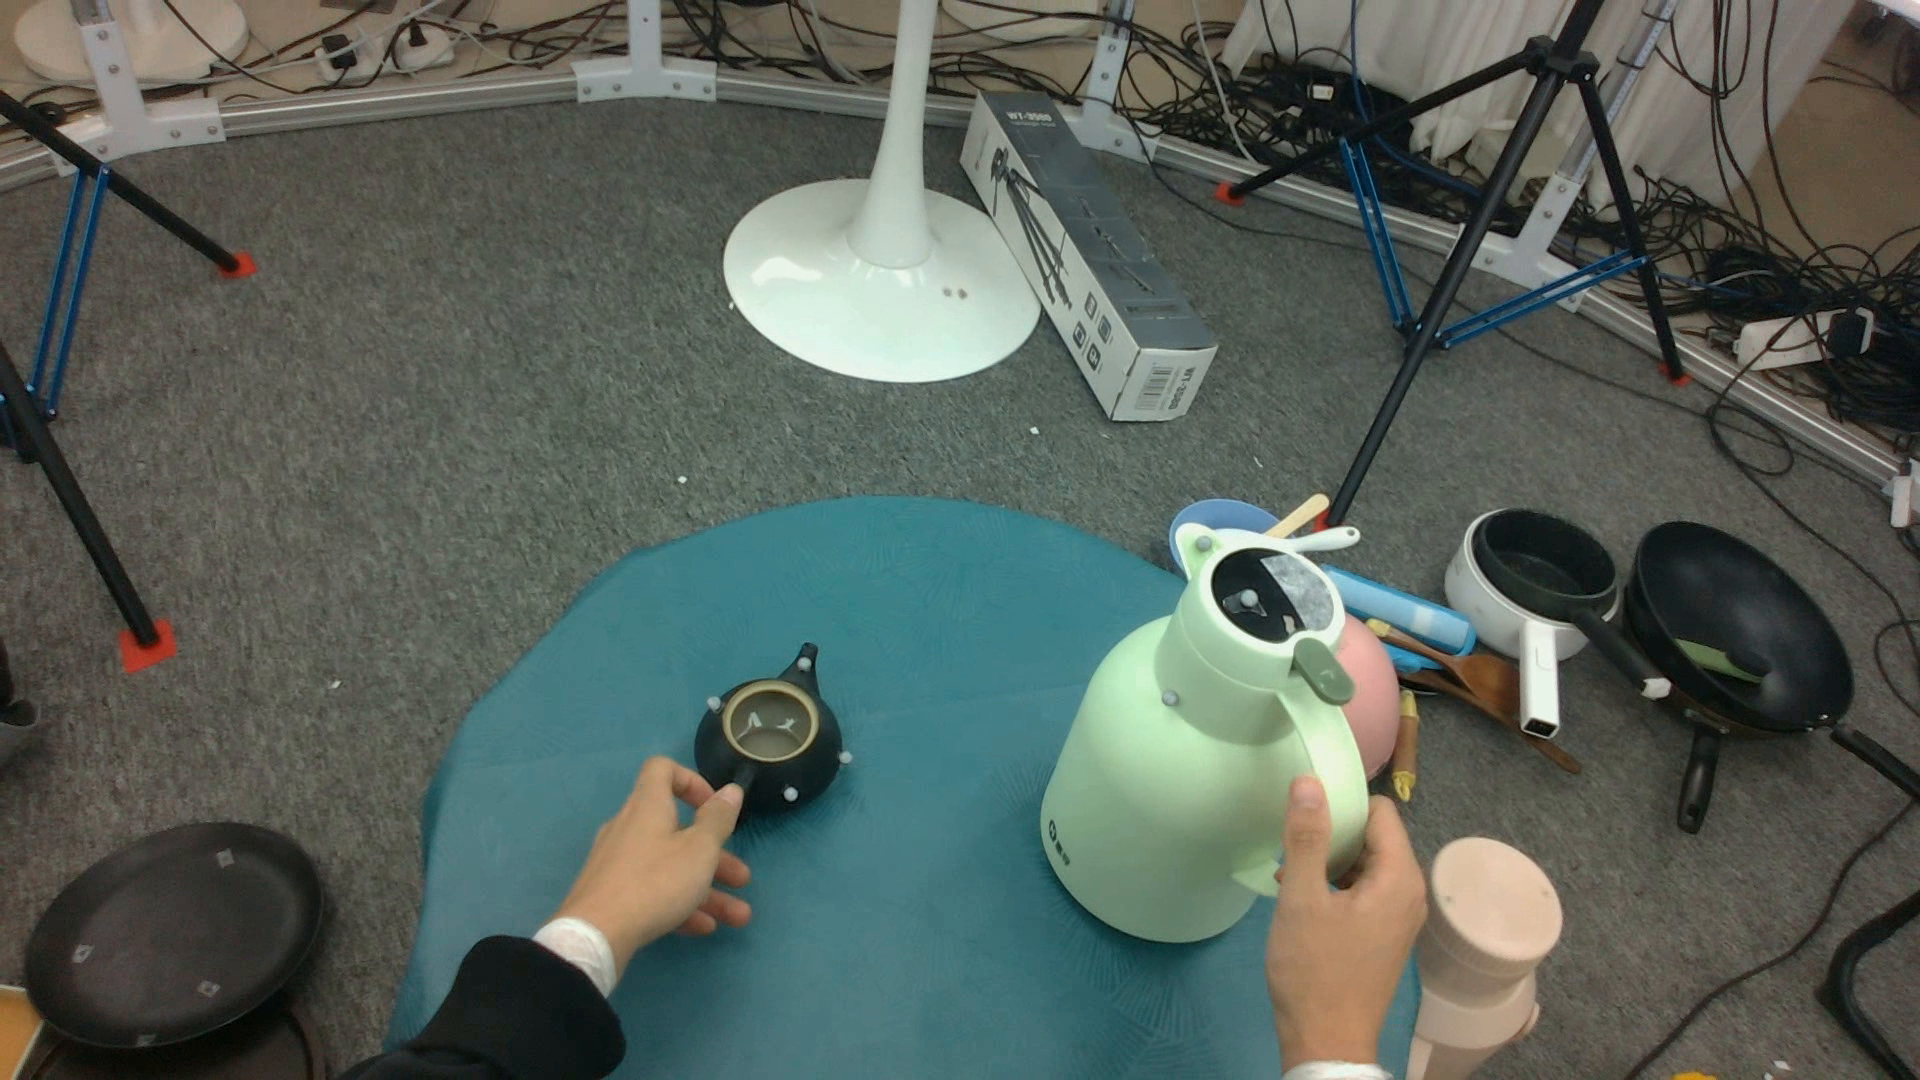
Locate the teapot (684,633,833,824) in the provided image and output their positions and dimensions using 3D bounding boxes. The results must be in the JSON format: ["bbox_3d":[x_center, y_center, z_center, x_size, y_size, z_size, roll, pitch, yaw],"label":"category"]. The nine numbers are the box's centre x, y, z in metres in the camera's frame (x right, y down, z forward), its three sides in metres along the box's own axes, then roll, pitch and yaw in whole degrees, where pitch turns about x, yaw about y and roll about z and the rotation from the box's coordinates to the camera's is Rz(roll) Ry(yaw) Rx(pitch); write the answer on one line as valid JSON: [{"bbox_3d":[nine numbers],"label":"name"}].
[{"bbox_3d":[-0.124,0.119,0.846,0.091,0.053,0.134,18,47,5],"label":"teapot"}]

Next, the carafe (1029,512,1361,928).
[{"bbox_3d":[0.140,0.114,0.777,0.144,0.255,0.187,-13,56,-24],"label":"carafe"}]
